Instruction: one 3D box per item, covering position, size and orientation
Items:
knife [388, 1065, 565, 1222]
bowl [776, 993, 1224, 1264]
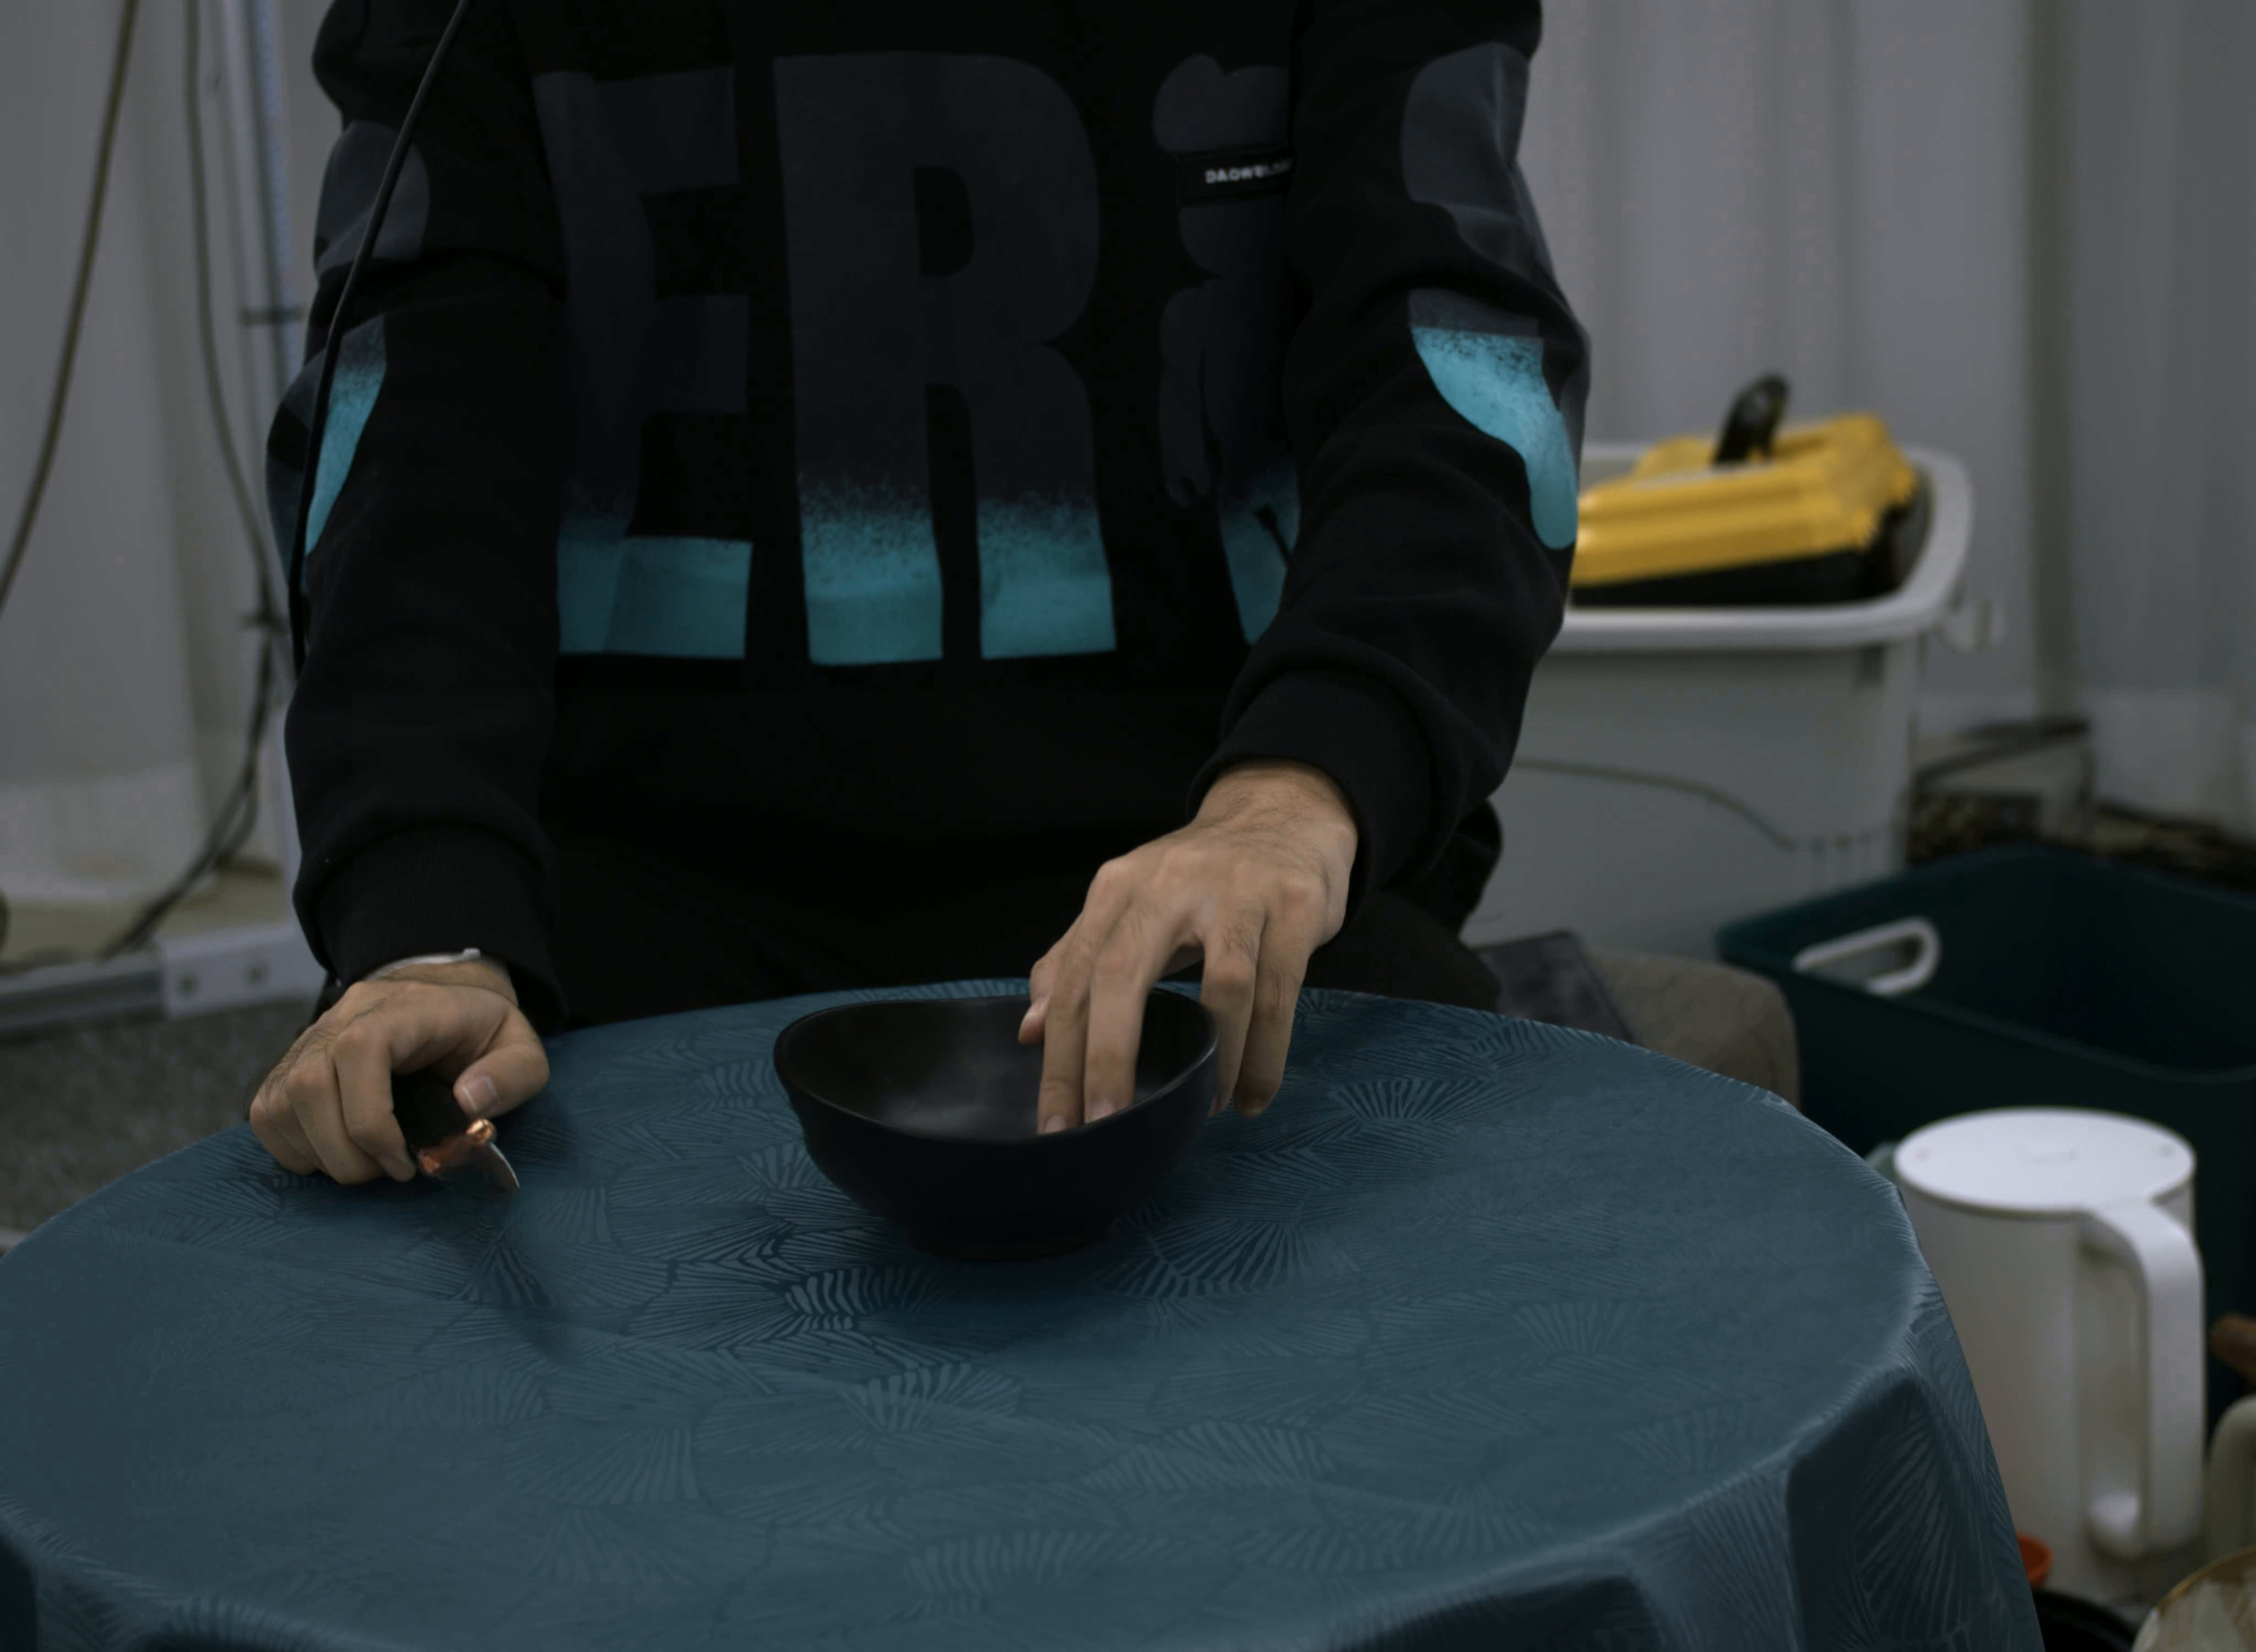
[{"bbox_3d":[-0.204,0.102,1.707,0.026,0.017,0.227,-46,18,-7],"label":"knife"},{"bbox_3d":[-0.038,0.094,1.676,0.137,0.066,0.171,-3,13,-4],"label":"bowl"}]
